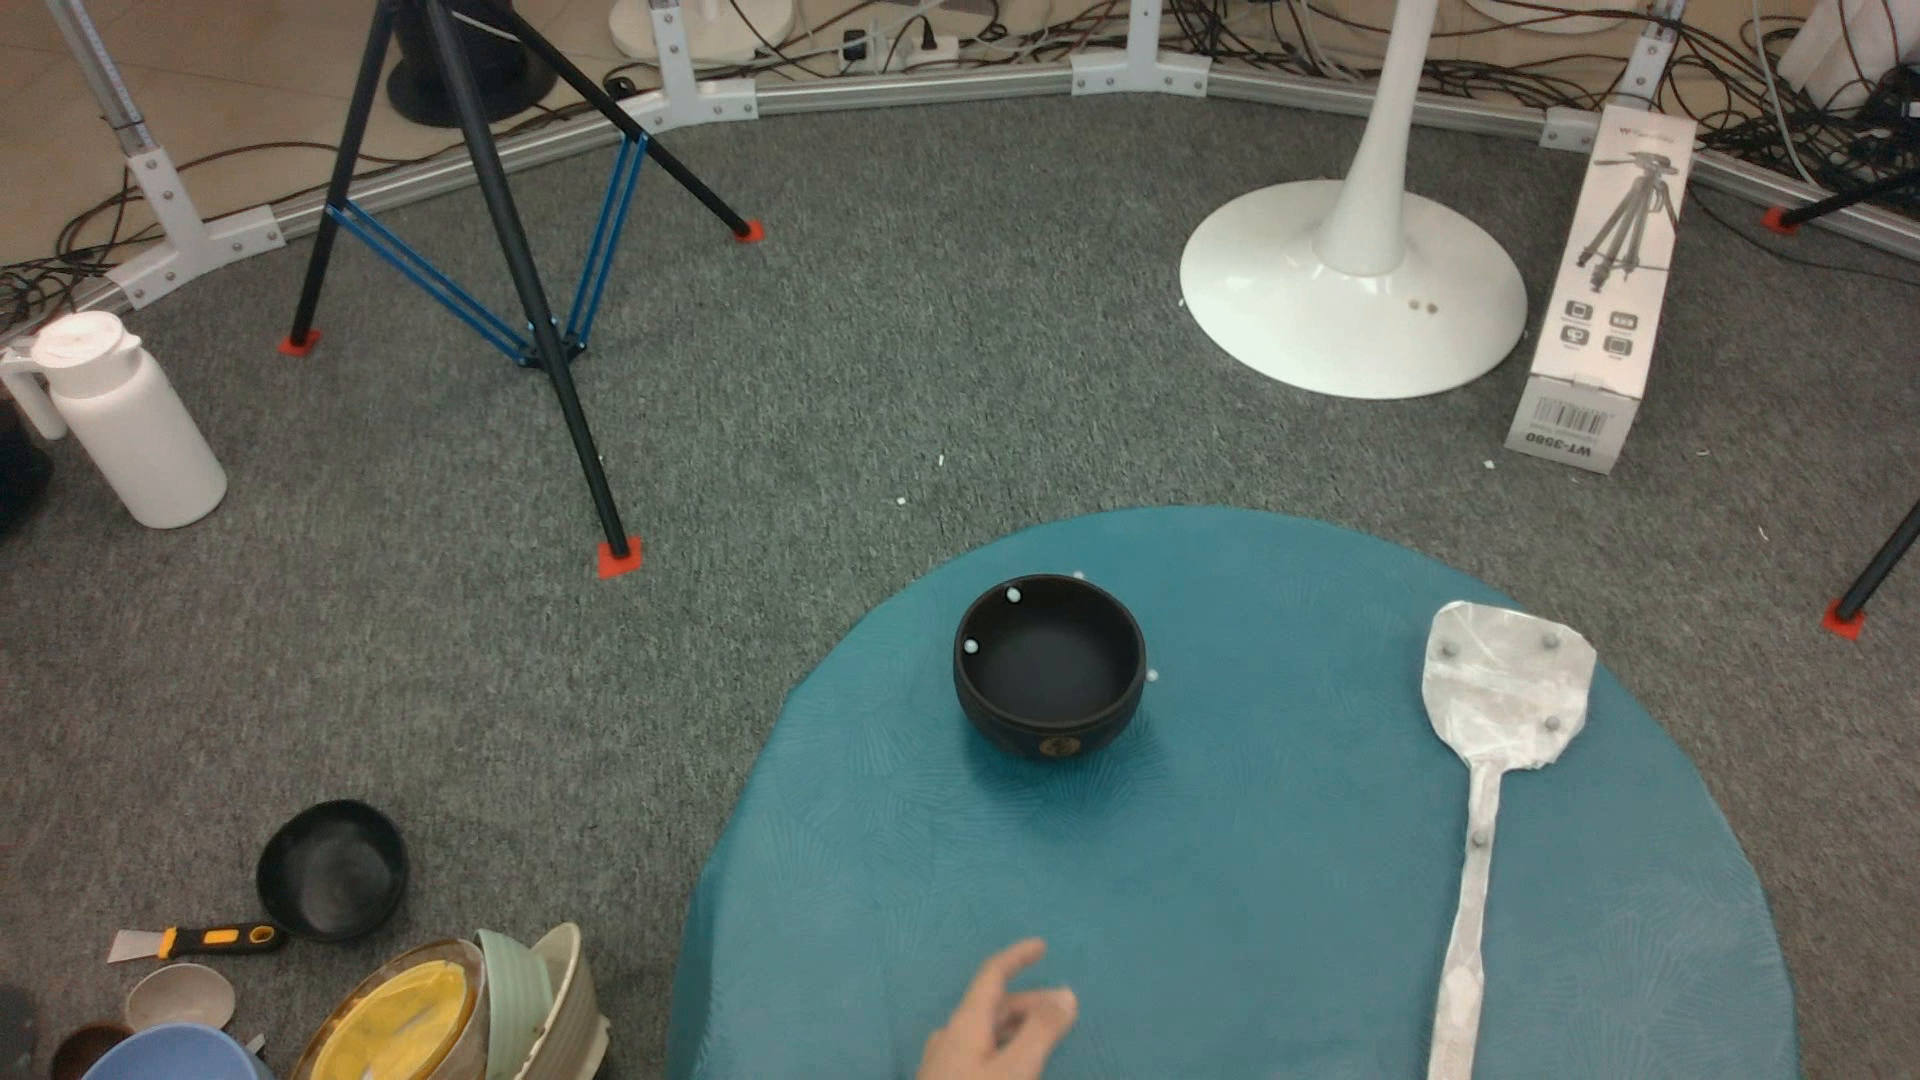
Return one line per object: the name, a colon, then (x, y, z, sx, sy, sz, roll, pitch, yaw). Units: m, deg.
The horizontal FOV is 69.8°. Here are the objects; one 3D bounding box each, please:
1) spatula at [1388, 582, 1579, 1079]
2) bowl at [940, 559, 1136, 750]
spatula: (0.281, 0.175, 0.779, 0.098, 0.044, 0.367, 18, 51, 12)
bowl: (0.047, 0.077, 0.842, 0.118, 0.069, 0.118, -1, 51, 1)
